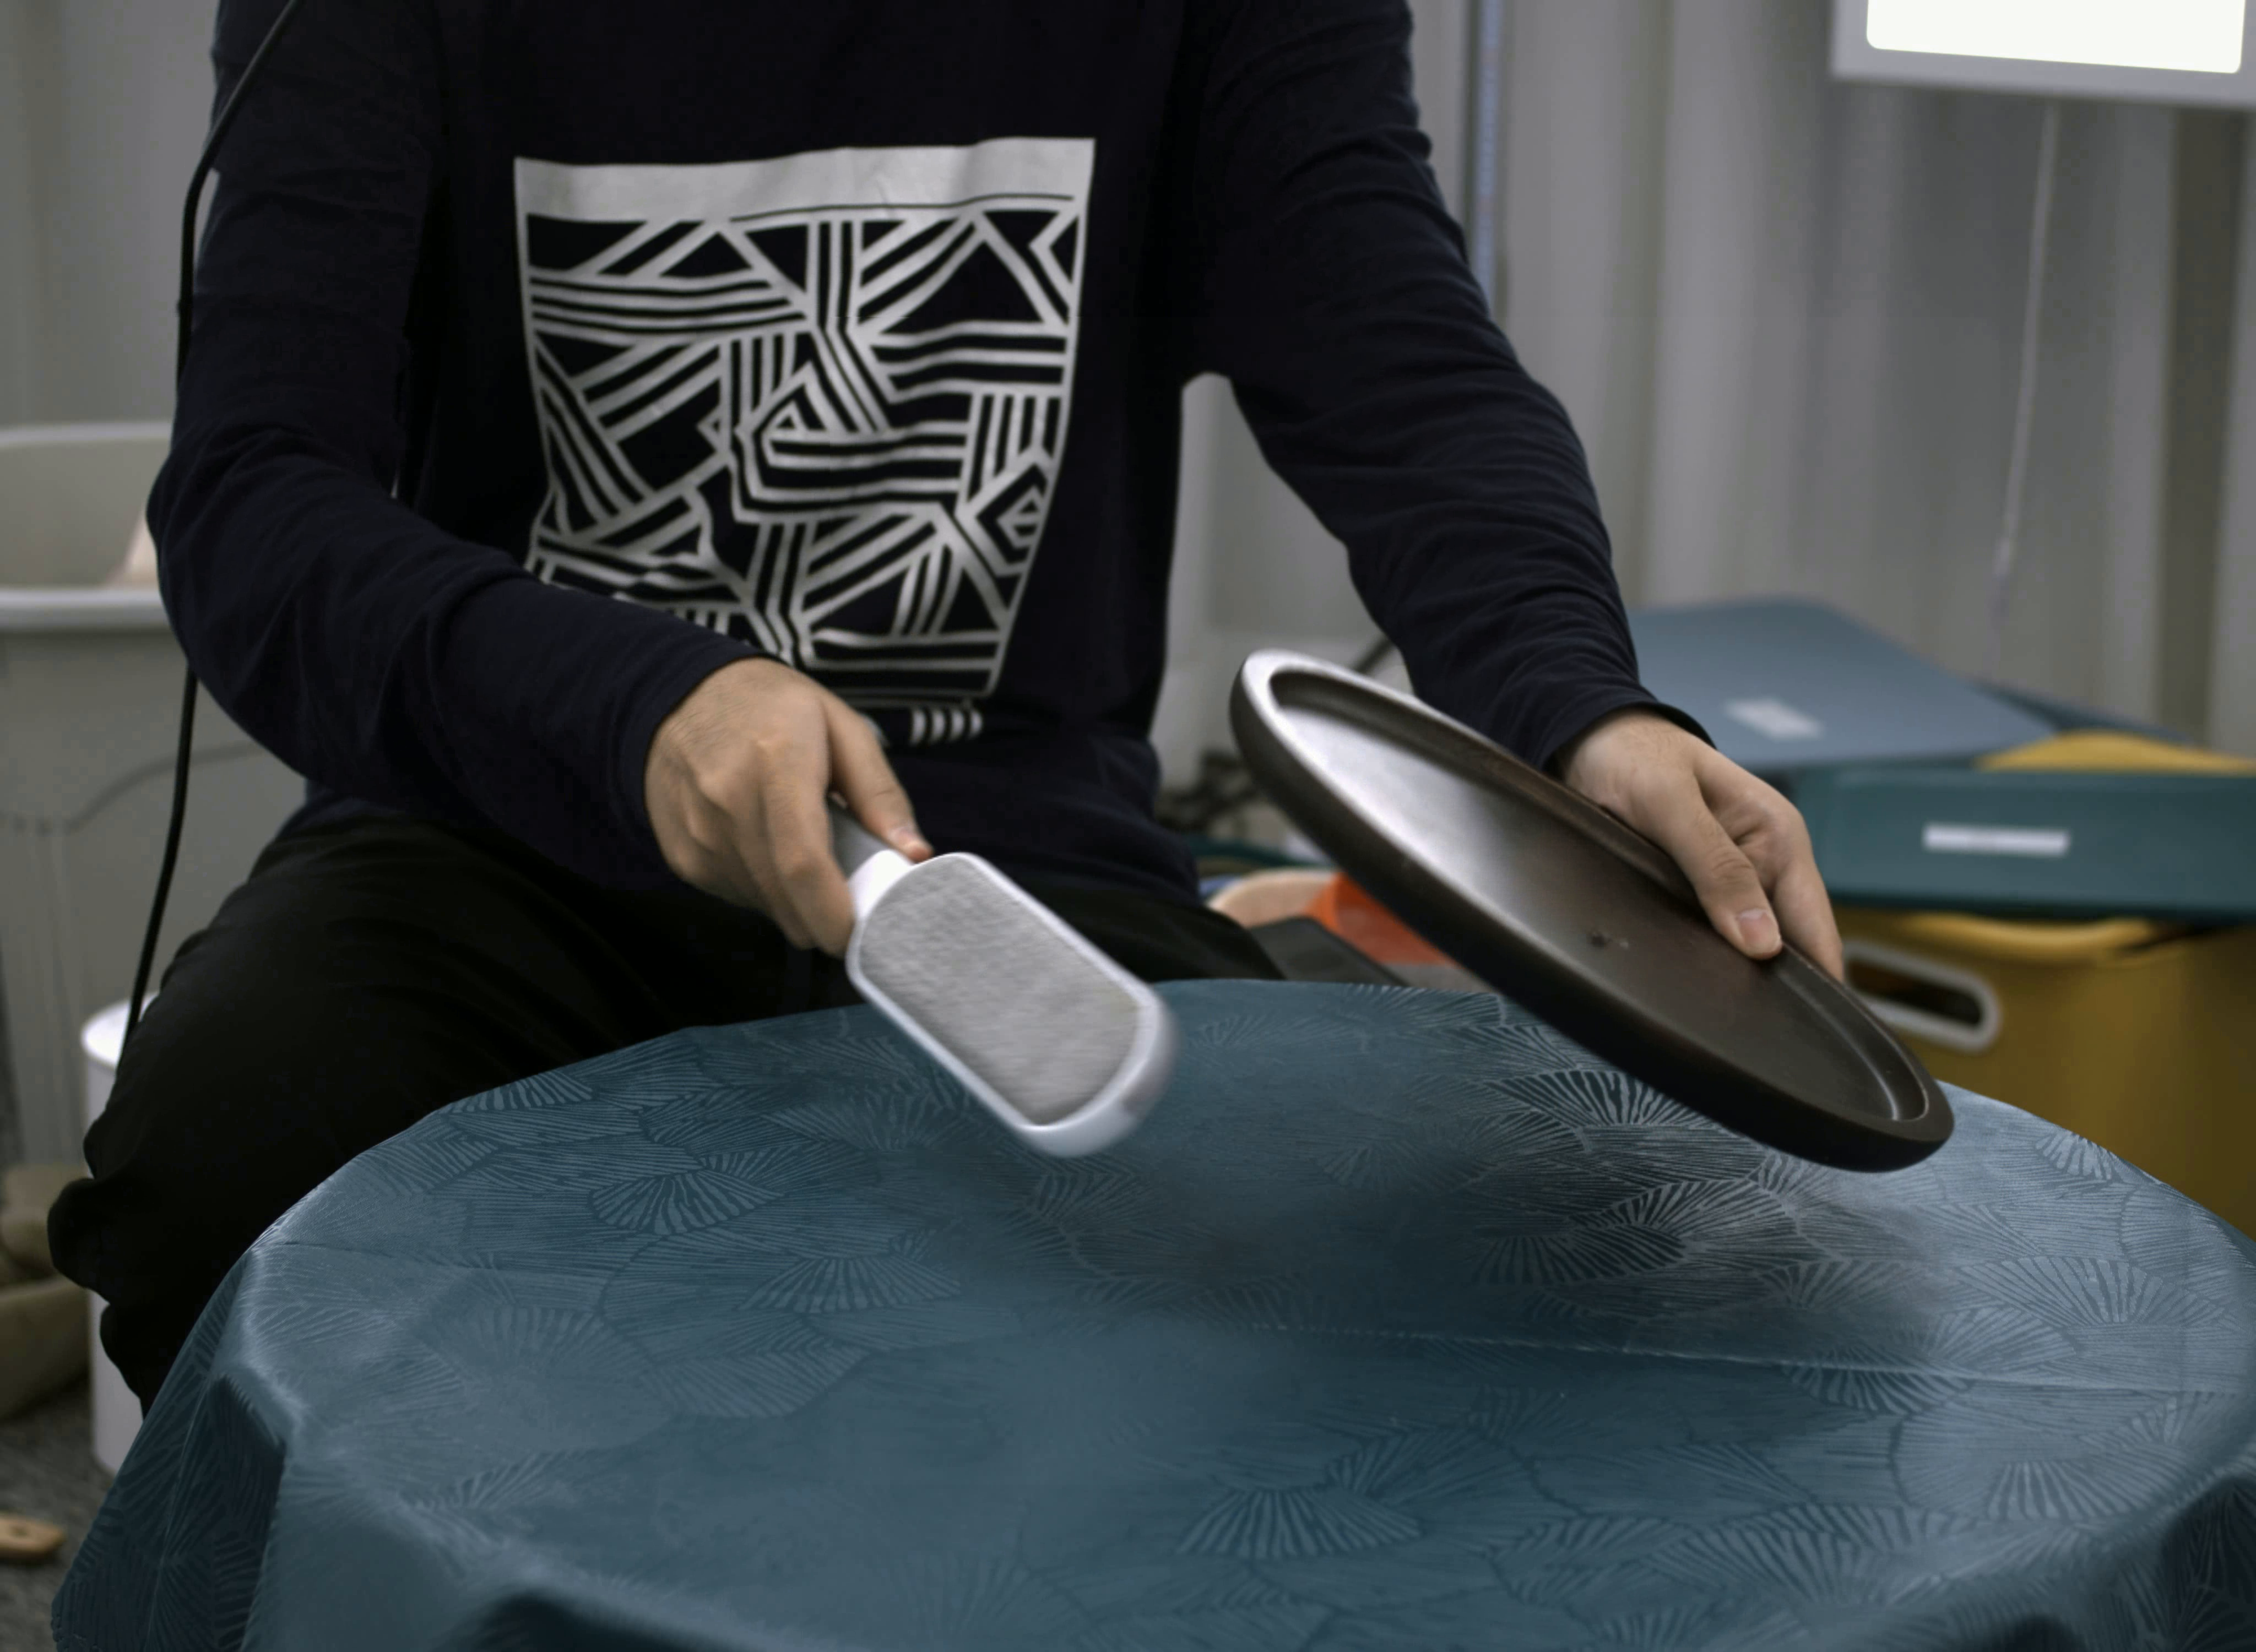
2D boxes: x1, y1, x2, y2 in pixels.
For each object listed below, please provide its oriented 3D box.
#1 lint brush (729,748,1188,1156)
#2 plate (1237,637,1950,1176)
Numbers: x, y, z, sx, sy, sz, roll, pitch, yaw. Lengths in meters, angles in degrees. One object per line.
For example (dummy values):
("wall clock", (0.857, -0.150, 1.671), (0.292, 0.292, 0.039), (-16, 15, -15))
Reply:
("lint brush", (-0.060, 0.030, 1.657), (0.021, 0.060, 0.305), (39, -2, -33))
("plate", (0.136, 0.024, 1.563), (0.255, 0.029, 0.253), (35, 11, -7))
